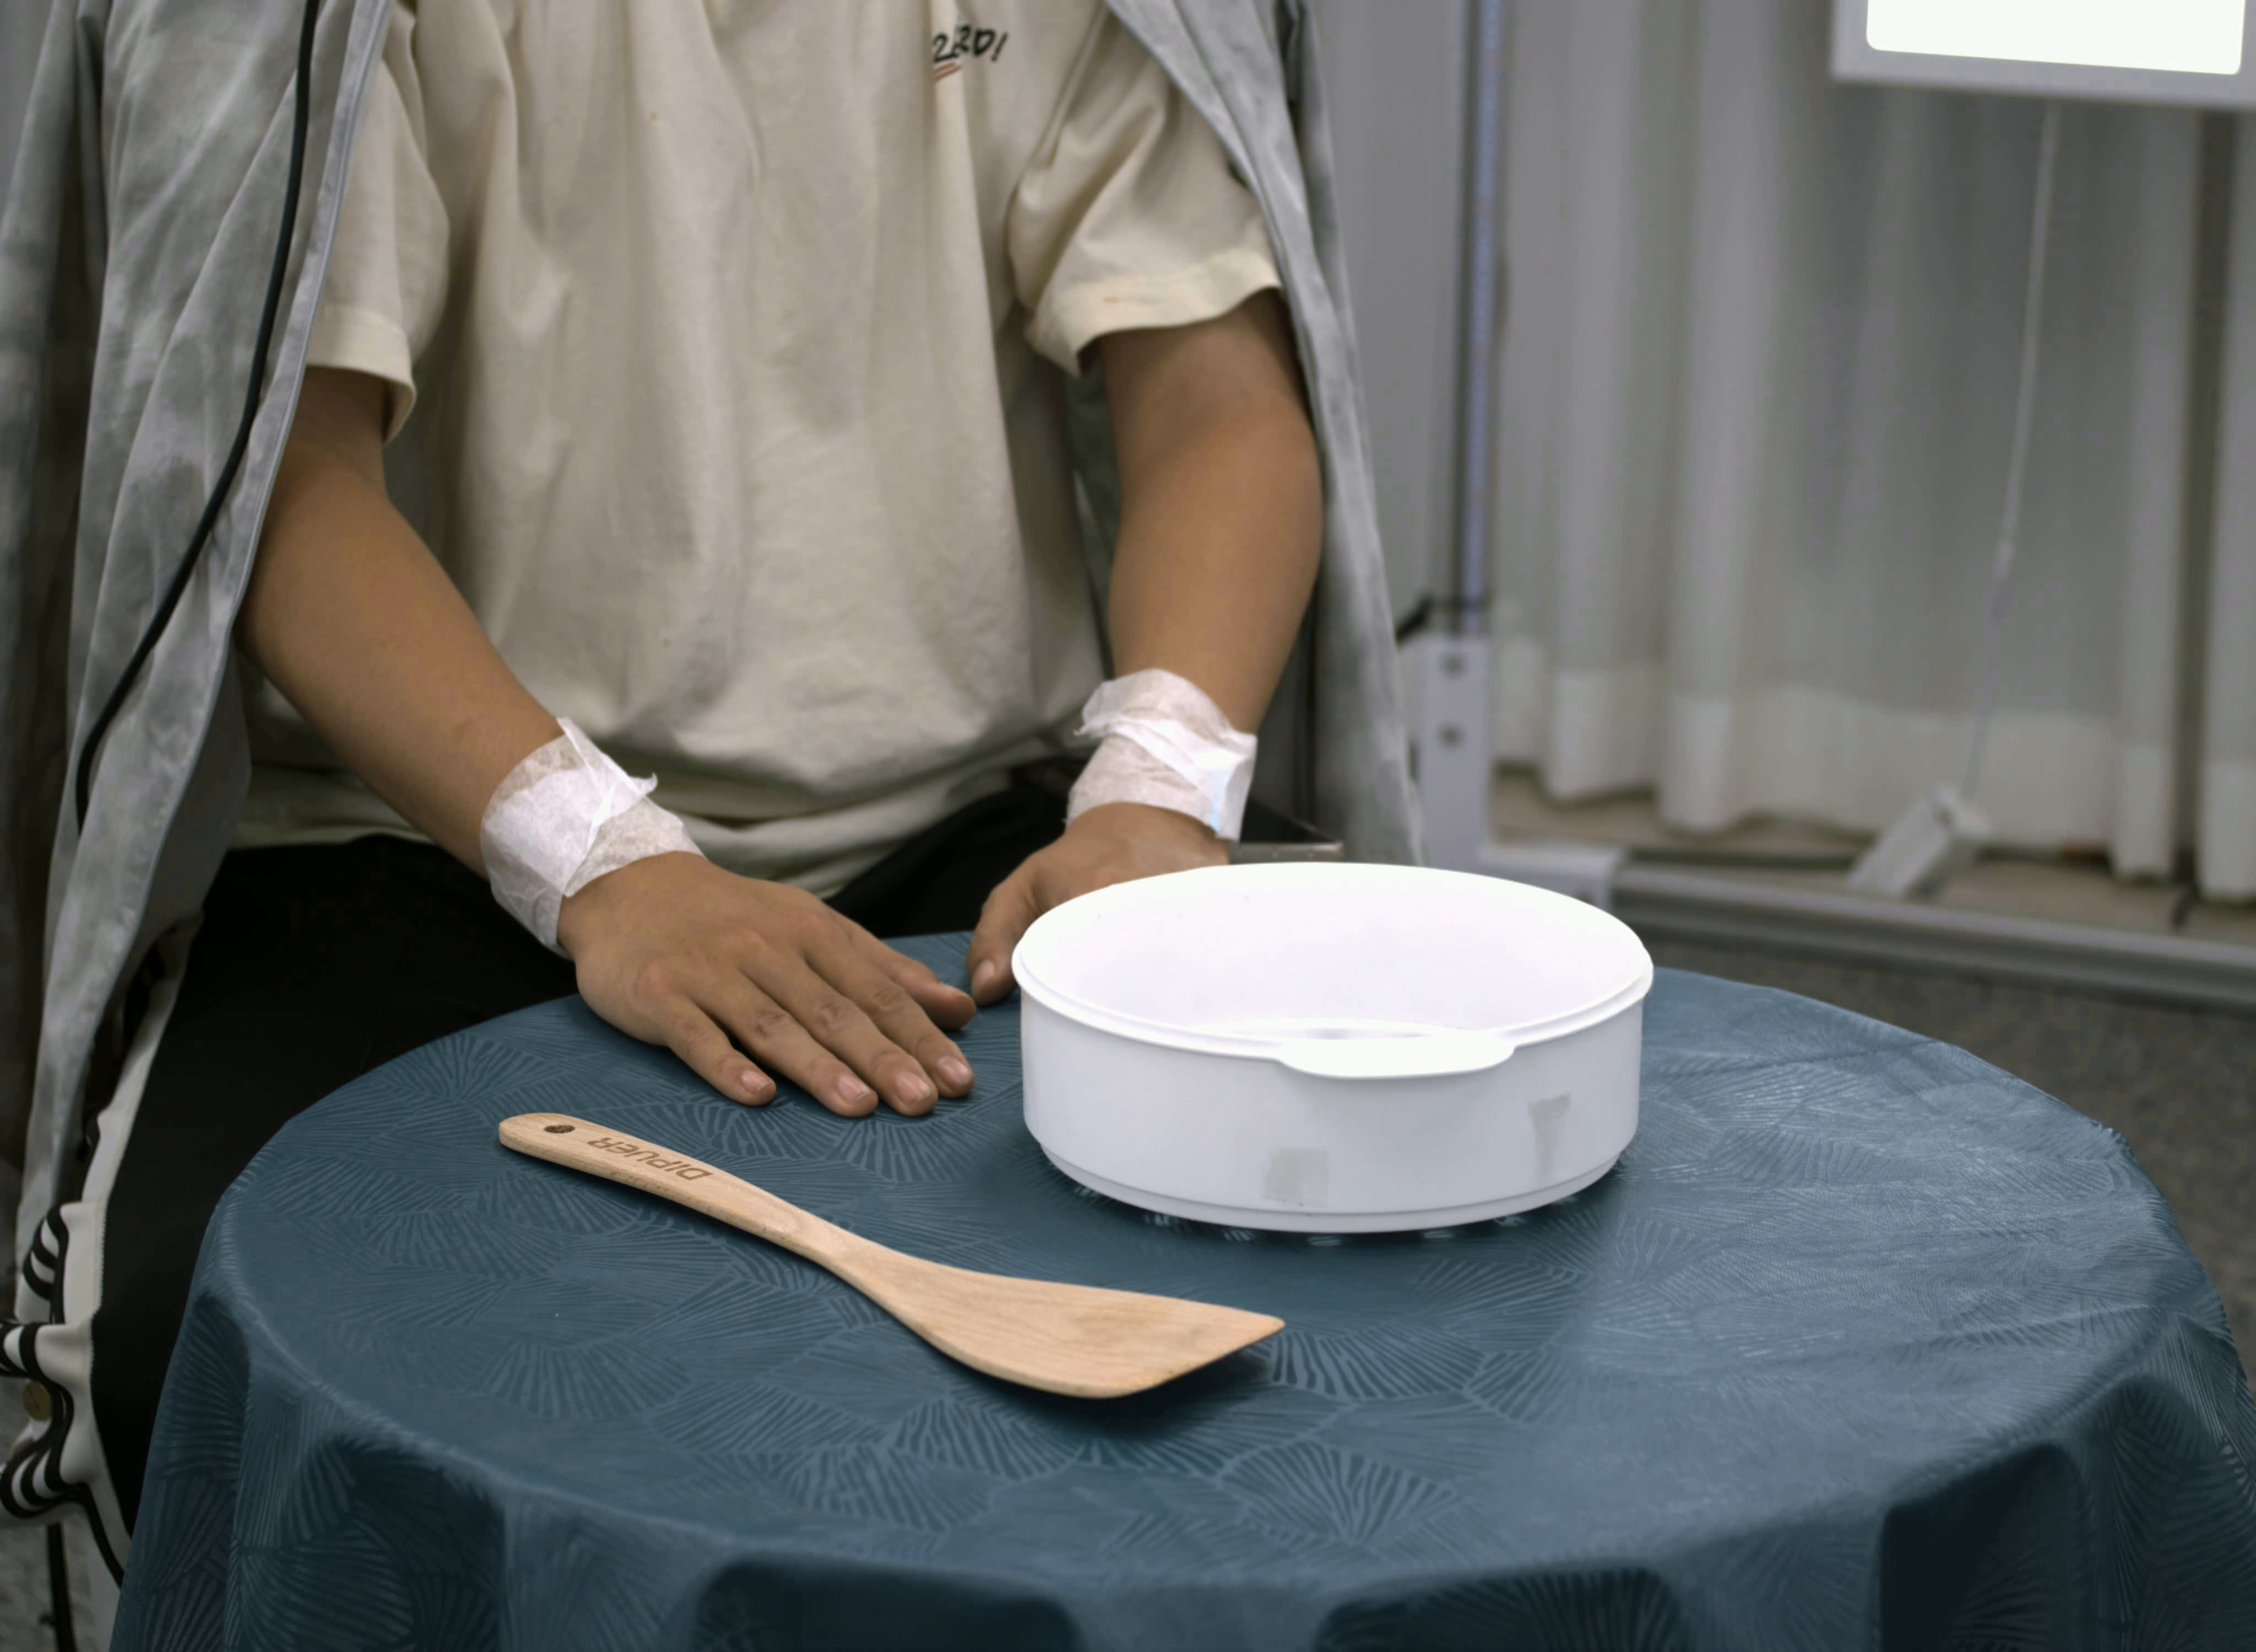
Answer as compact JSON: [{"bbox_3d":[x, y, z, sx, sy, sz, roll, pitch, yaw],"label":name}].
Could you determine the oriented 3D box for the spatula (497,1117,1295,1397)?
[{"bbox_3d":[-0.082,0.122,1.555,0.080,0.016,0.323,-13,20,-42],"label":"spatula"}]

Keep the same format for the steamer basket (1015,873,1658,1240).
[{"bbox_3d":[0.064,0.072,1.652,0.202,0.070,0.228,-1,15,-10],"label":"steamer basket"}]
